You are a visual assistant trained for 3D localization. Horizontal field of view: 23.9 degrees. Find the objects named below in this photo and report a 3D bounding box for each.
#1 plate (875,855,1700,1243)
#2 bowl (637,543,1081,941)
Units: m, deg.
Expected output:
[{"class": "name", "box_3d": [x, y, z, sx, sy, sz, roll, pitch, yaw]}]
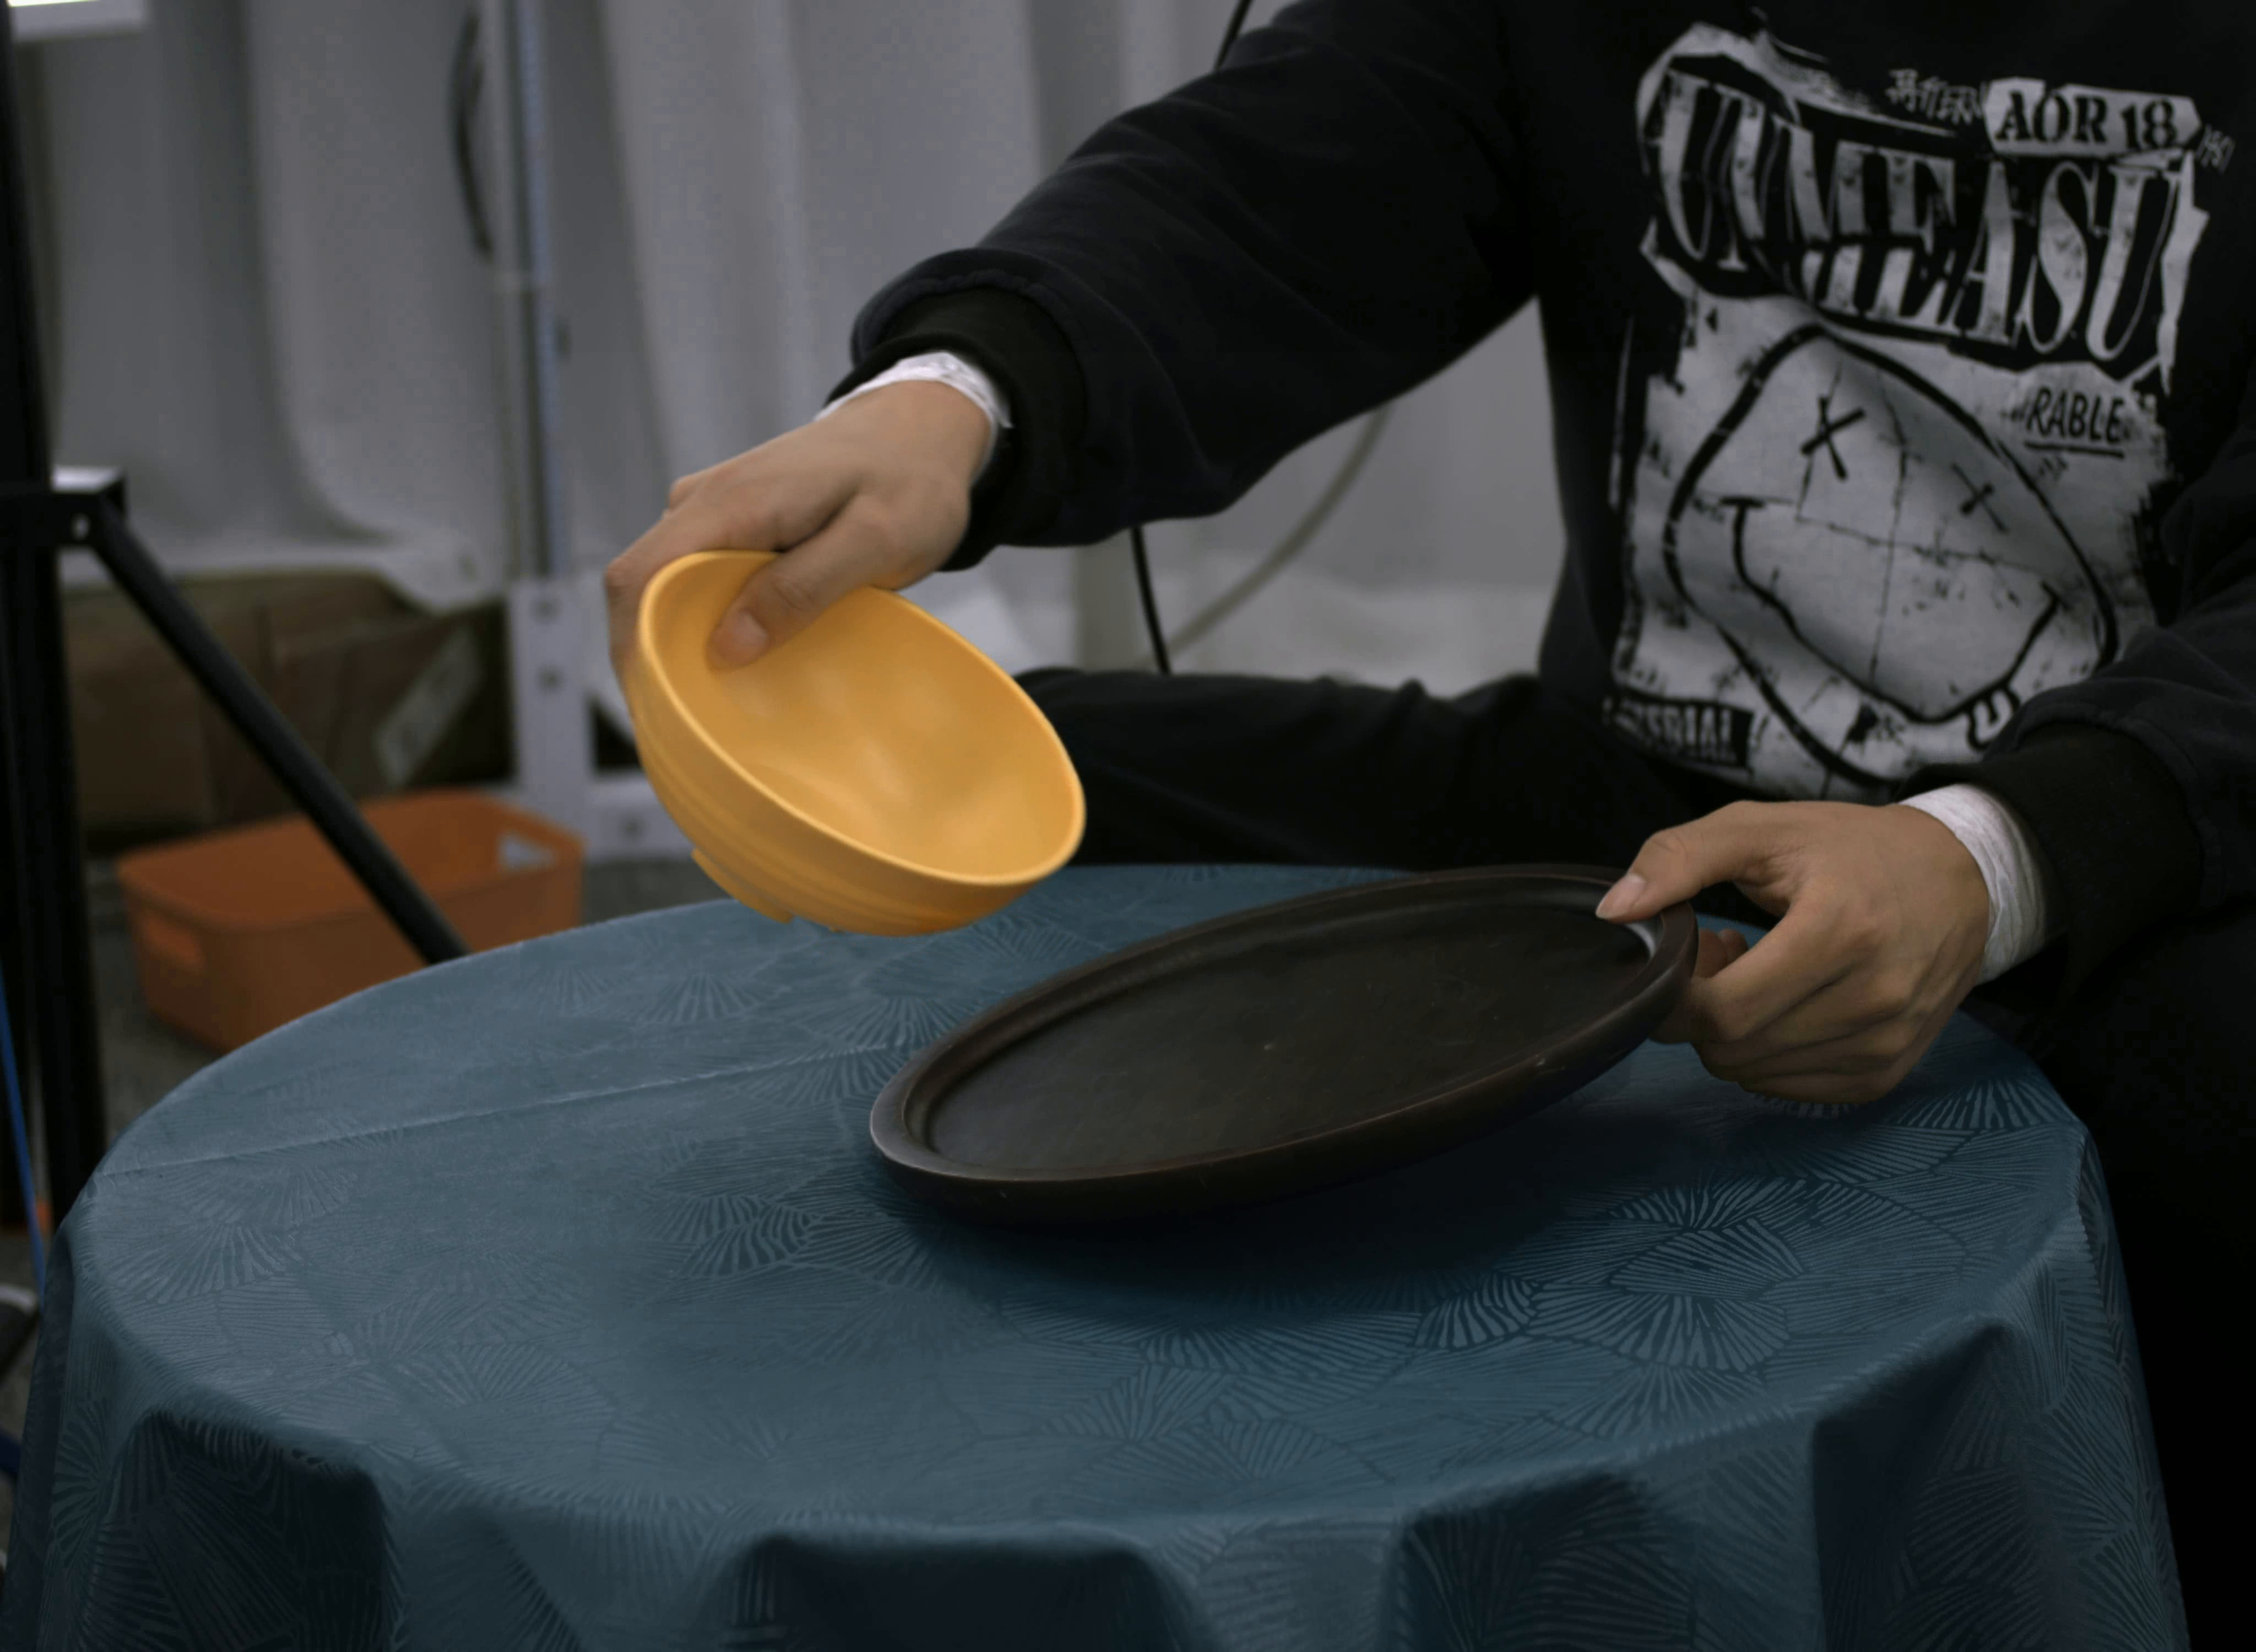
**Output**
[{"class": "plate", "box_3d": [0.048, 0.065, 1.573, 0.254, 0.029, 0.256, -17, 13, 2]}, {"class": "bowl", "box_3d": [-0.089, -0.012, 1.552, 0.143, 0.060, 0.147, 26, 29, -17]}]
